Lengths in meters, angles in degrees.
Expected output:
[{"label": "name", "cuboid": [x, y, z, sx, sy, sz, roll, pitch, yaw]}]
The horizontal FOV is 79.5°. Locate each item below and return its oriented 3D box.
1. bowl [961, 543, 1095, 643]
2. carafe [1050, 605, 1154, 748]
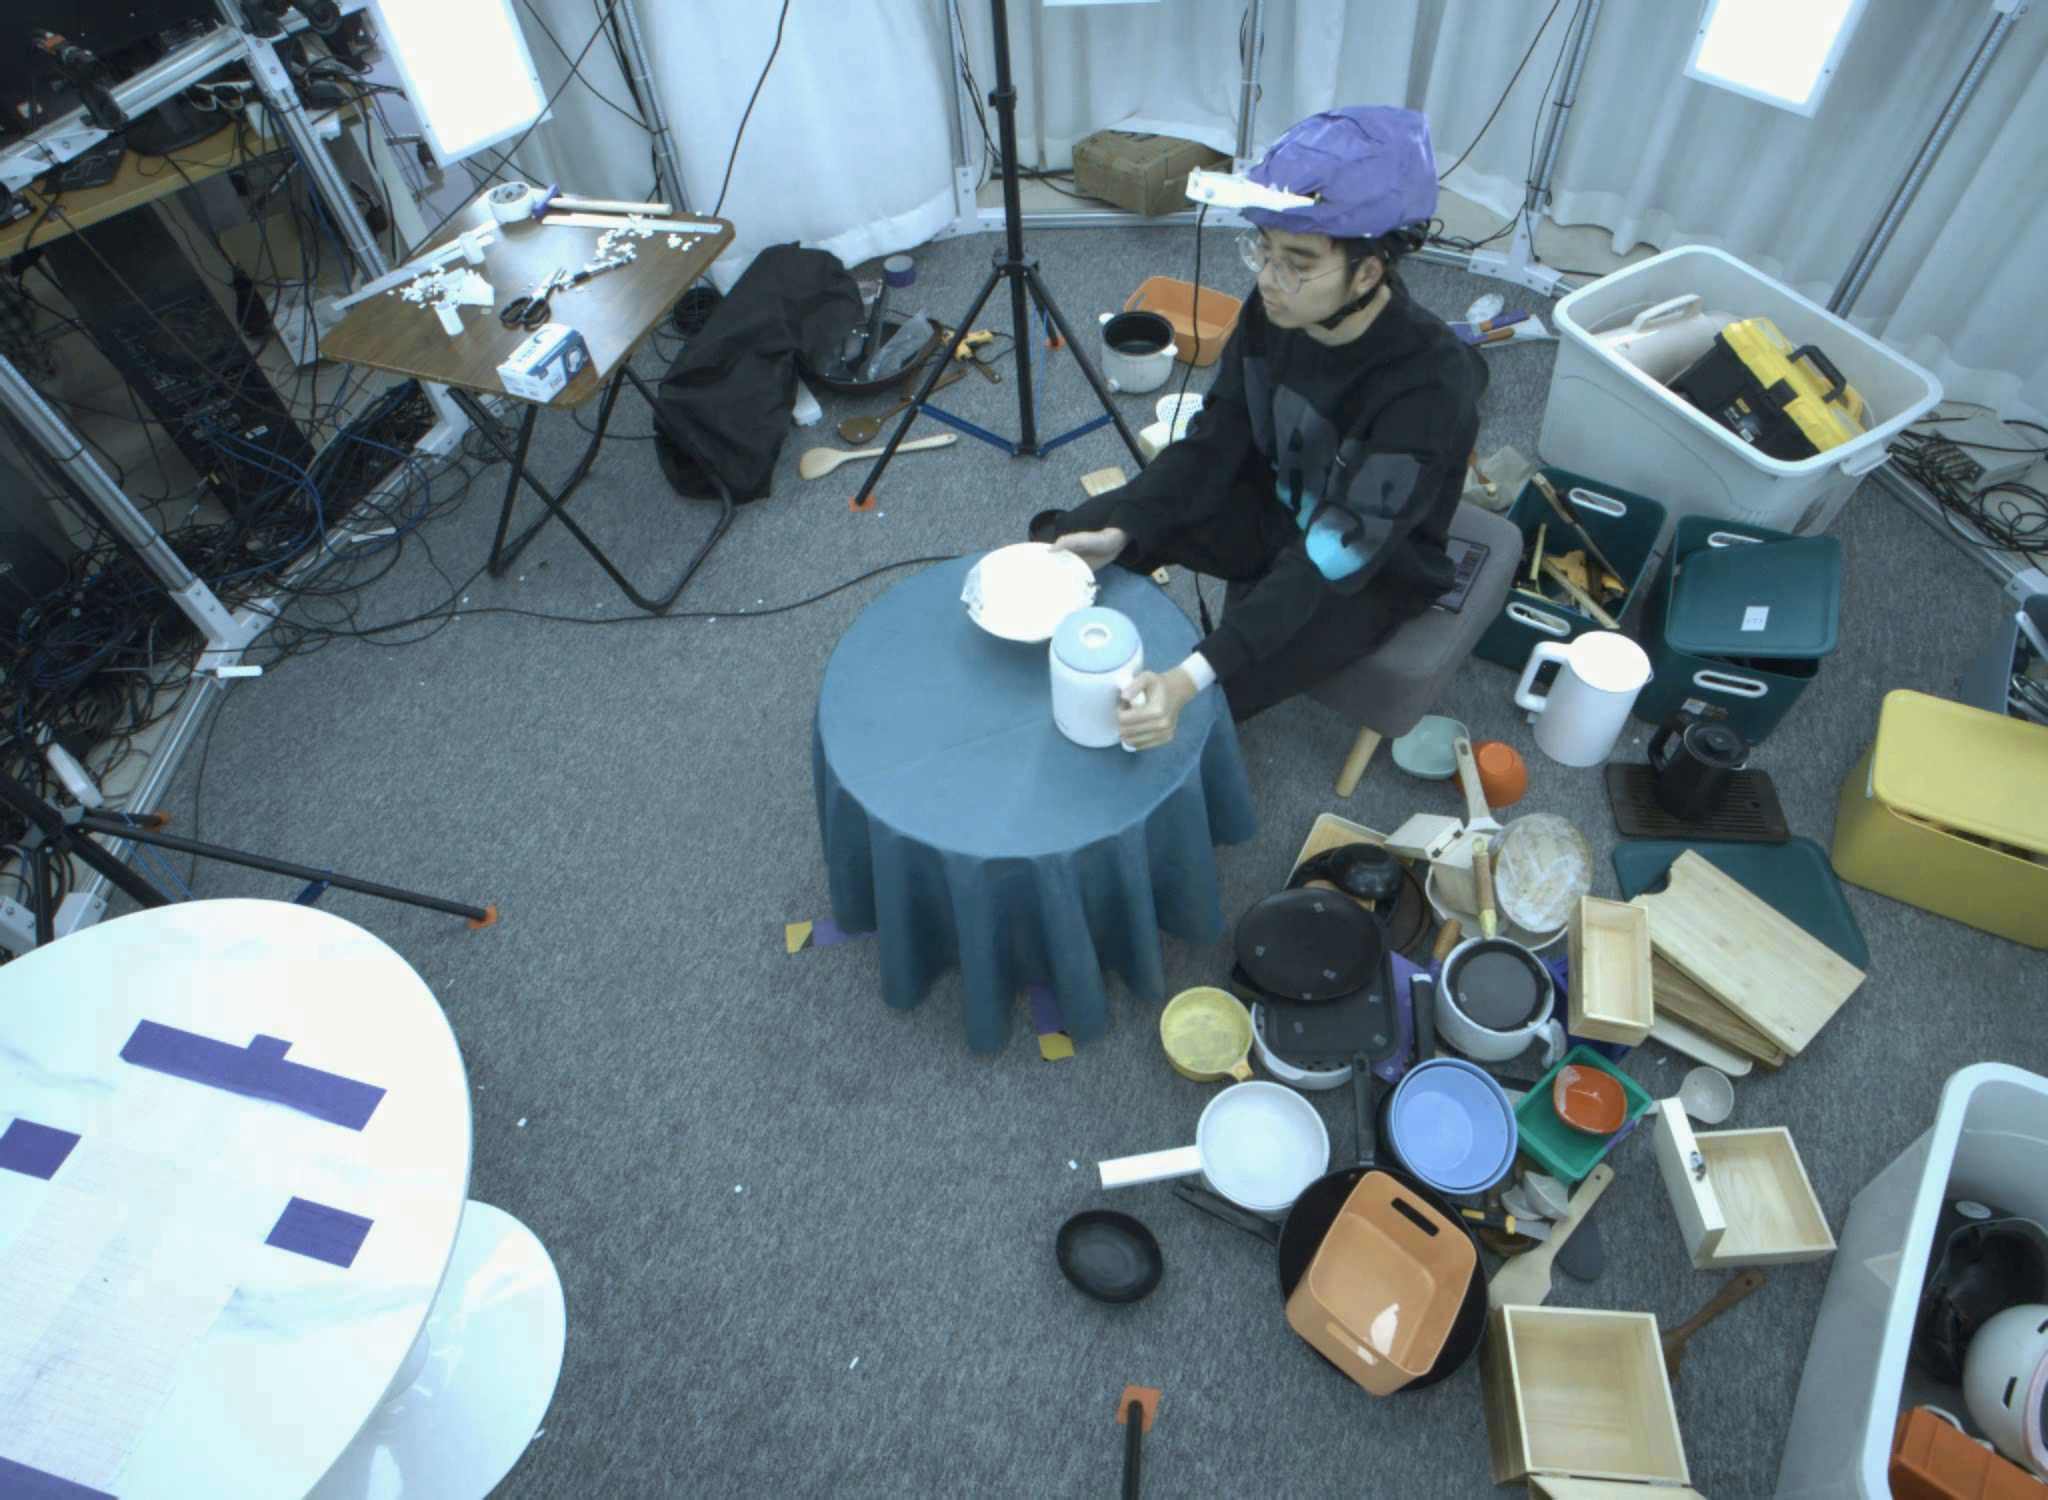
[{"label": "bowl", "cuboid": [0.006, -0.222, 1.896, 0.204, 0.078, 0.202, 1, 53, 0]}, {"label": "carafe", "cuboid": [0.118, -0.089, 1.737, 0.133, 0.184, 0.187, -33, 62, -17]}]
